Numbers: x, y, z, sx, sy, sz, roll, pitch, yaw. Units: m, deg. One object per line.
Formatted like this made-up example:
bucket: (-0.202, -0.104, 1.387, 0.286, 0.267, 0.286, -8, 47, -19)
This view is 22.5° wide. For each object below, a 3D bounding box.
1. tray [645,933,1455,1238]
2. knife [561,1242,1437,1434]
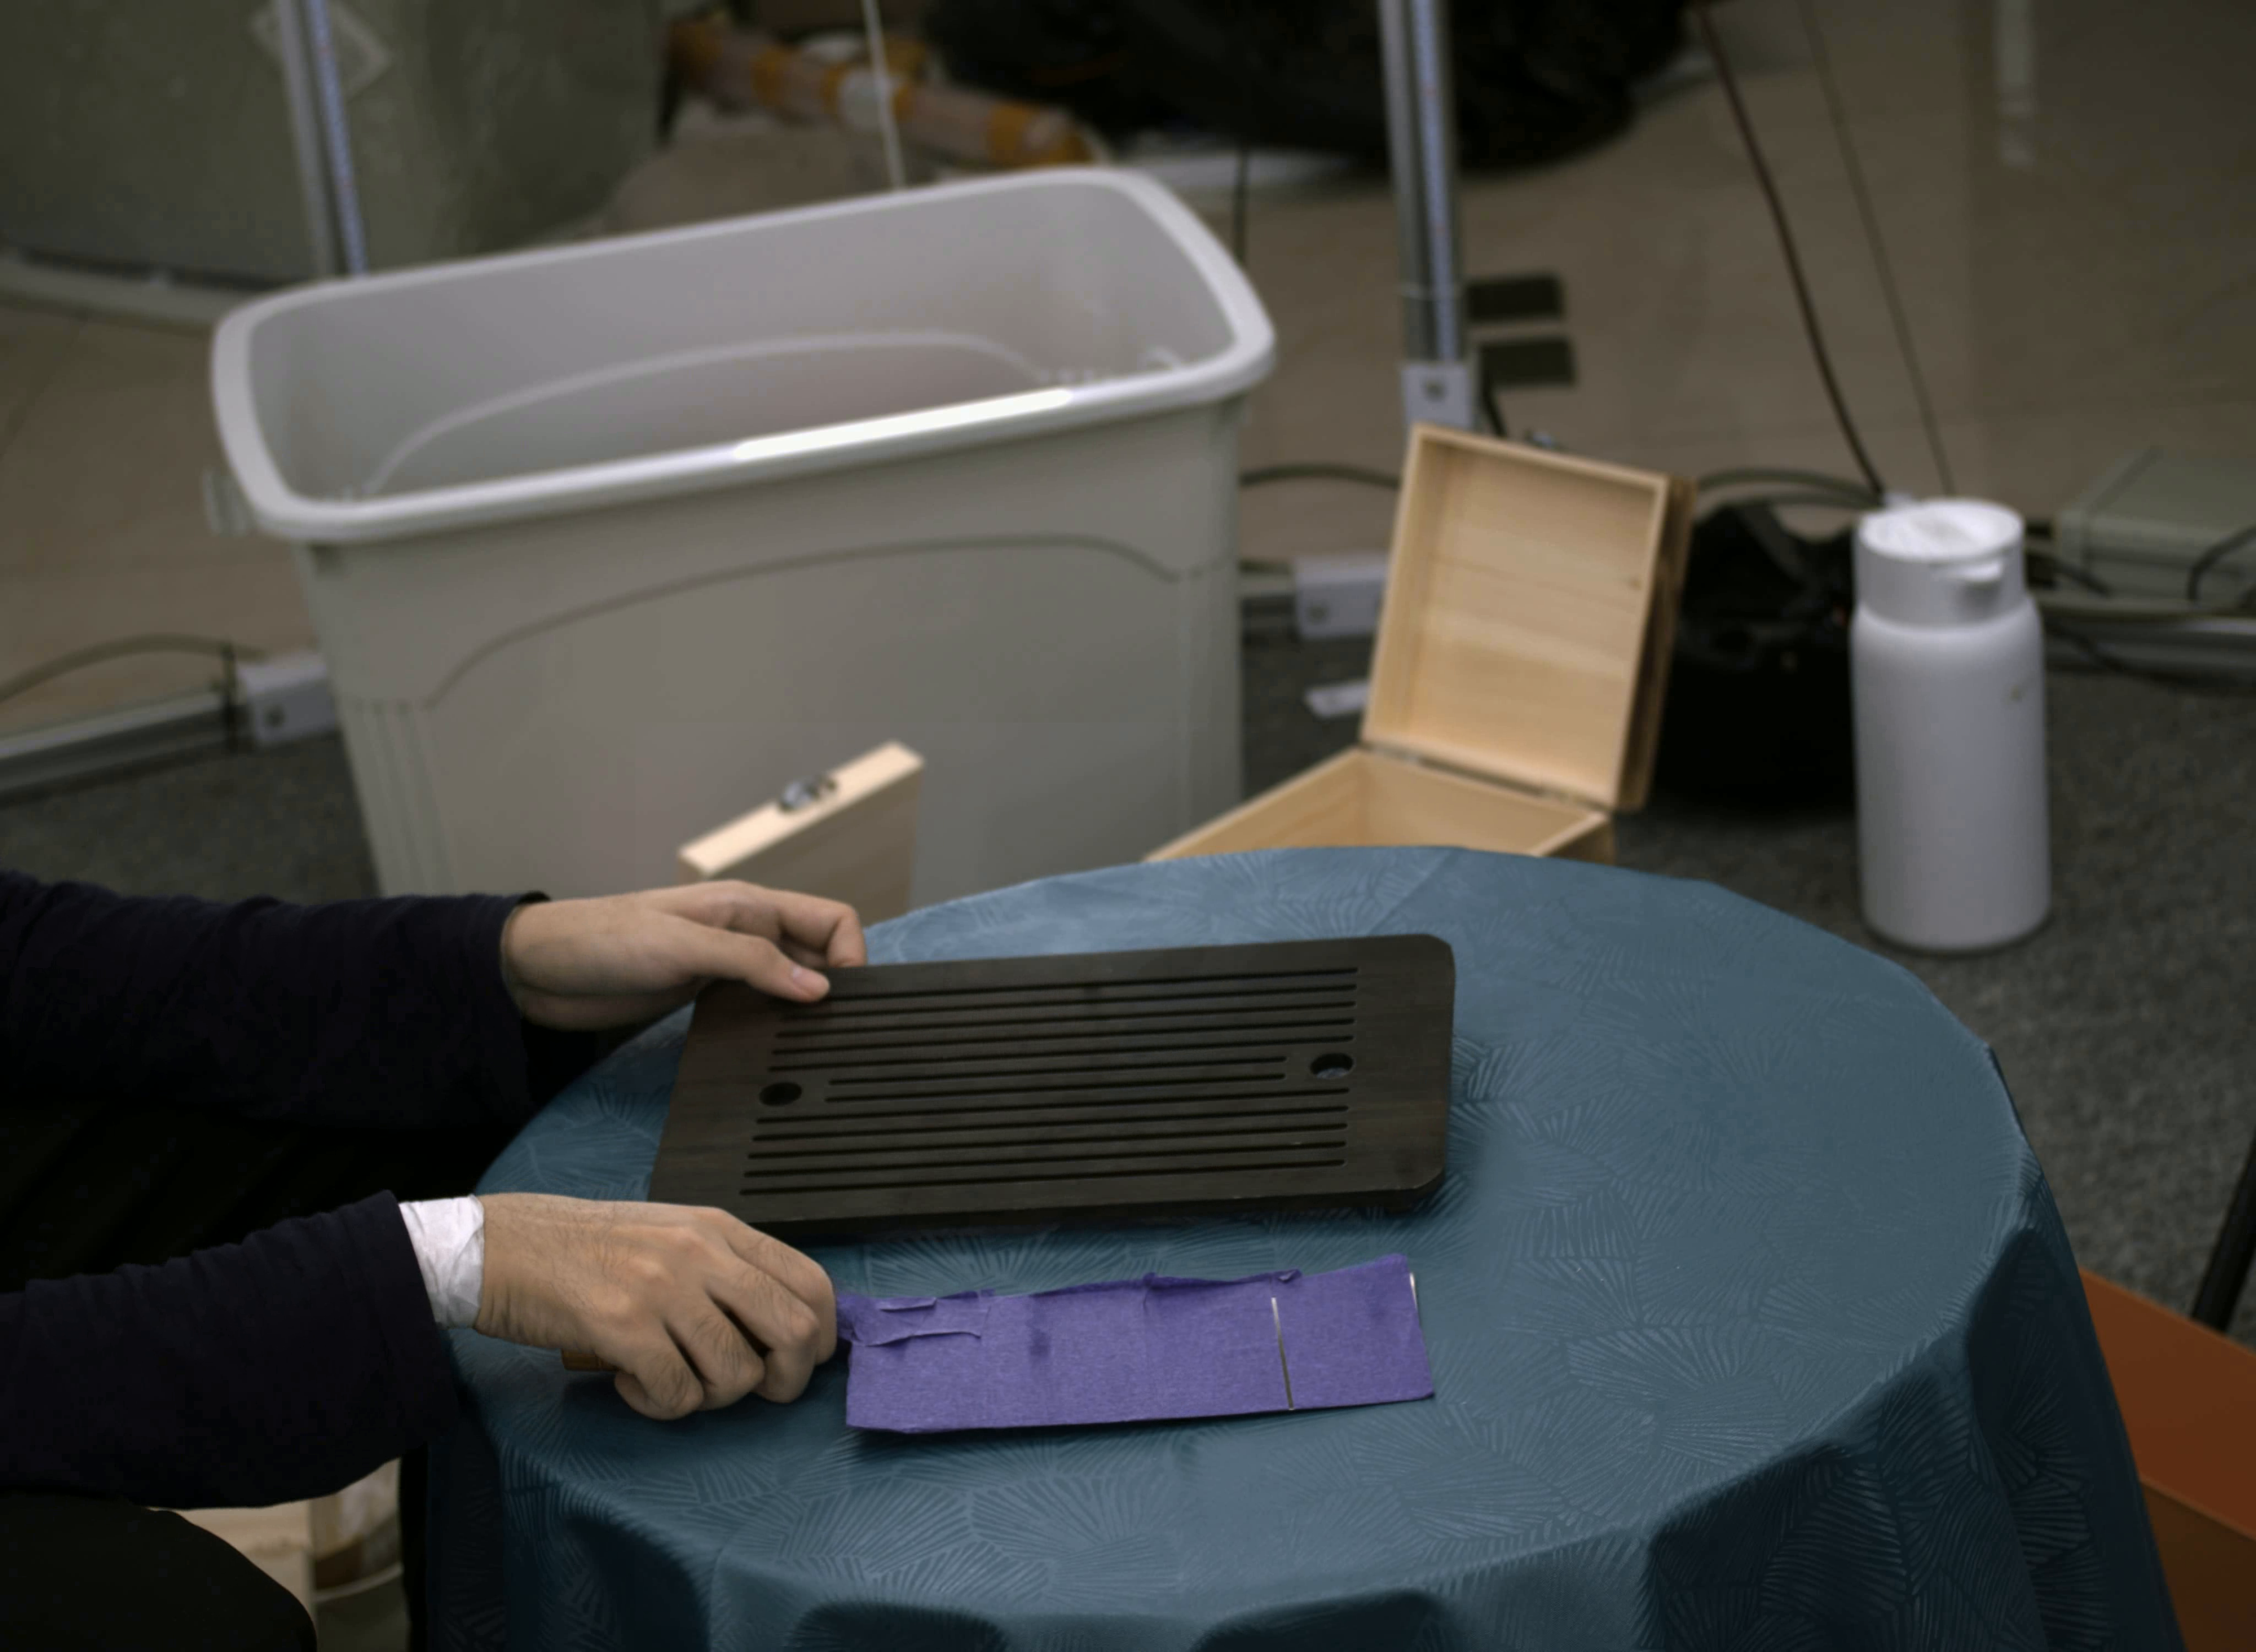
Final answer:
tray: (-0.027, 0.101, 2.193, 0.305, 0.019, 0.167, -3, 32, 7)
knife: (-0.048, 0.186, 2.031, 0.315, 0.033, 0.102, -6, 25, 1)
